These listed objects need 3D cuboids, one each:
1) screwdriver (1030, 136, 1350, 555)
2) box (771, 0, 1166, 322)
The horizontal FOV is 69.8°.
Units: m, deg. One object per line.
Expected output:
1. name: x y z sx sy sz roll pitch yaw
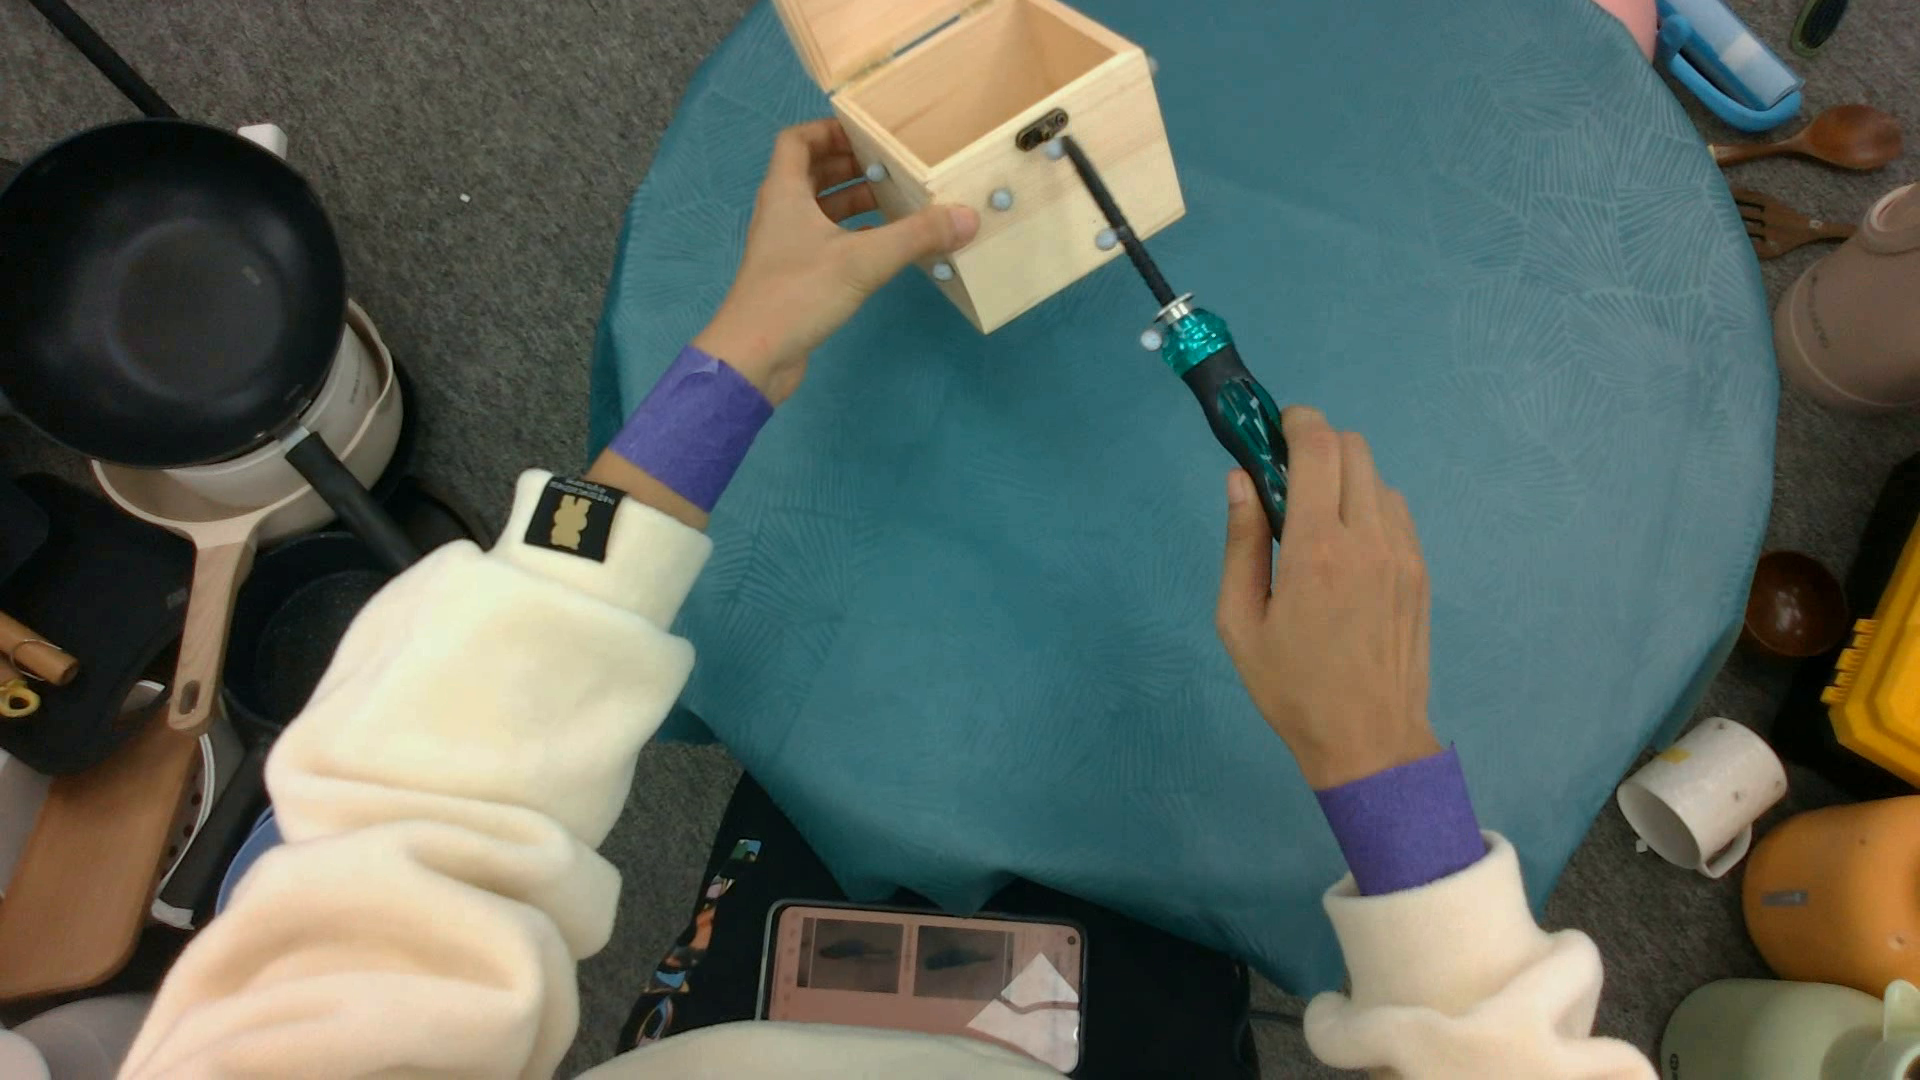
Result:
1. screwdriver: 0.083 -0.076 0.518 0.034 0.033 0.190 -35 88 -11
2. box: -0.007 -0.208 0.561 0.103 0.184 0.134 -30 41 -7
